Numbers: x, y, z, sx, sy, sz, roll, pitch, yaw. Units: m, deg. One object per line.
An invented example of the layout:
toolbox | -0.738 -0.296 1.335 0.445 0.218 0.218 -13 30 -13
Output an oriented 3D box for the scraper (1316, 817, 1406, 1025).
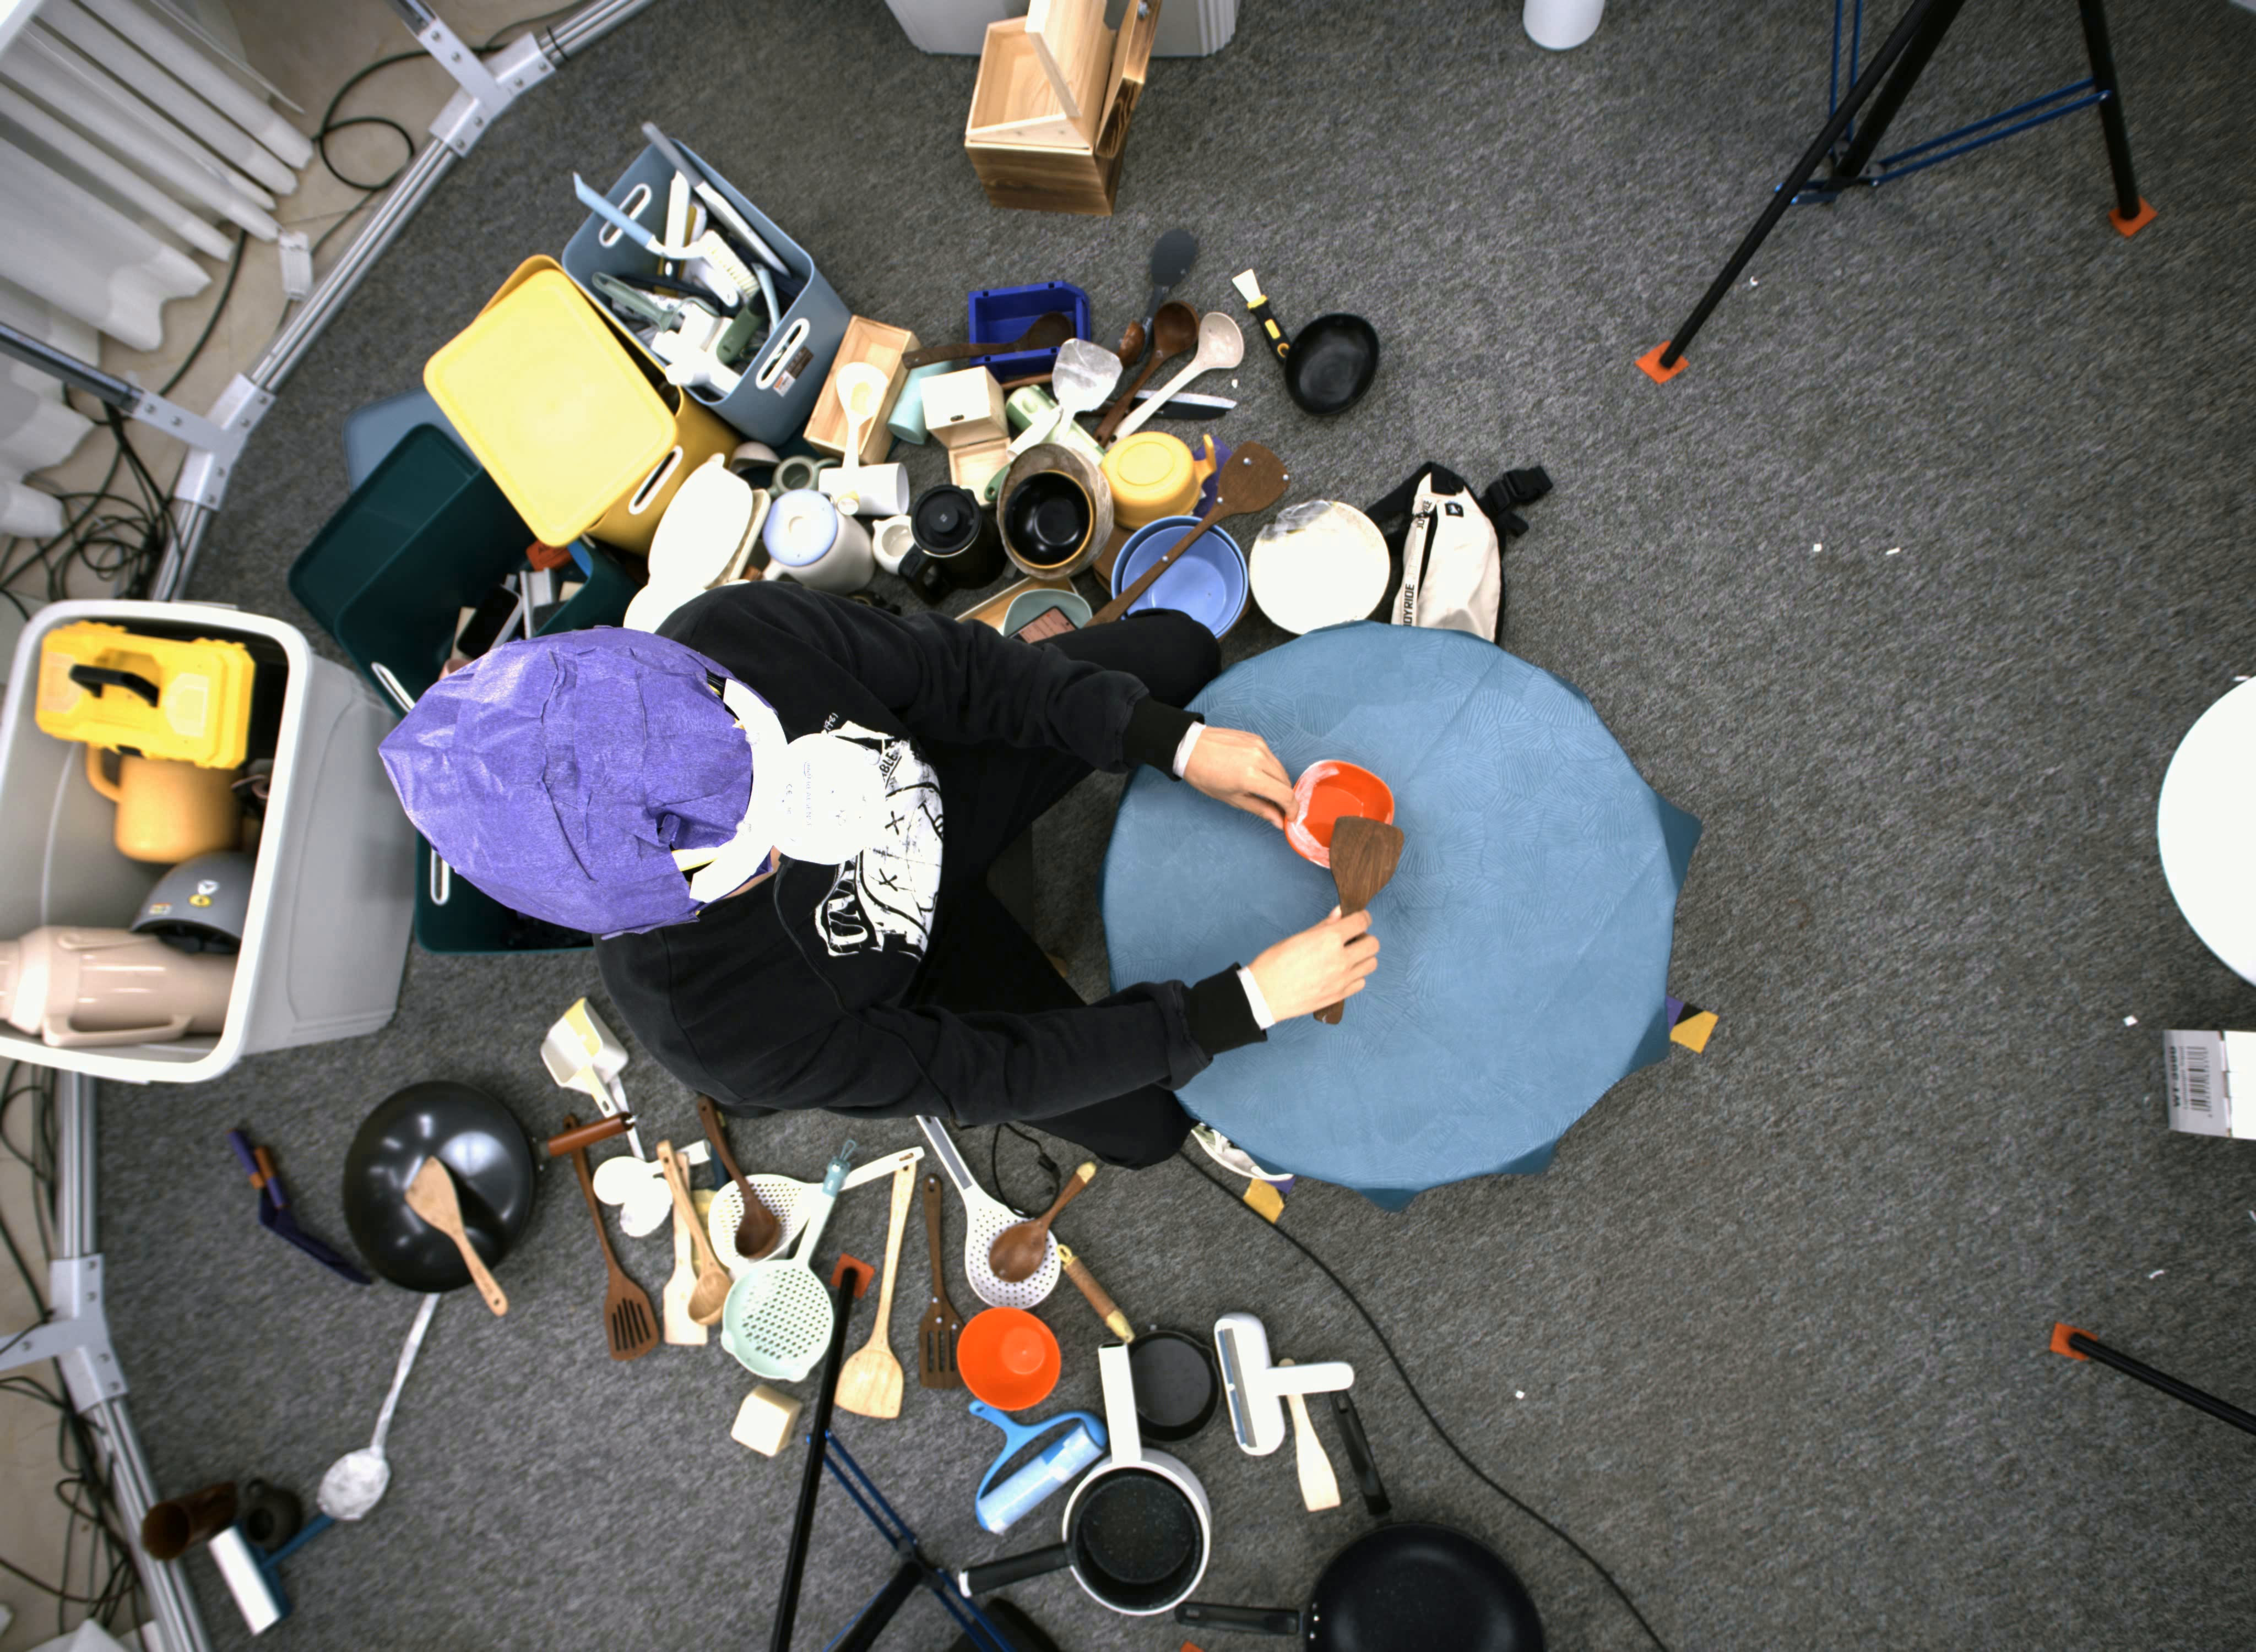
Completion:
scraper | 0.221 0.093 1.371 0.076 0.011 0.208 15 78 -2

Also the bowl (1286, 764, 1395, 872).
bowl | 0.216 -0.007 1.440 0.119 0.051 0.118 0 89 -6
